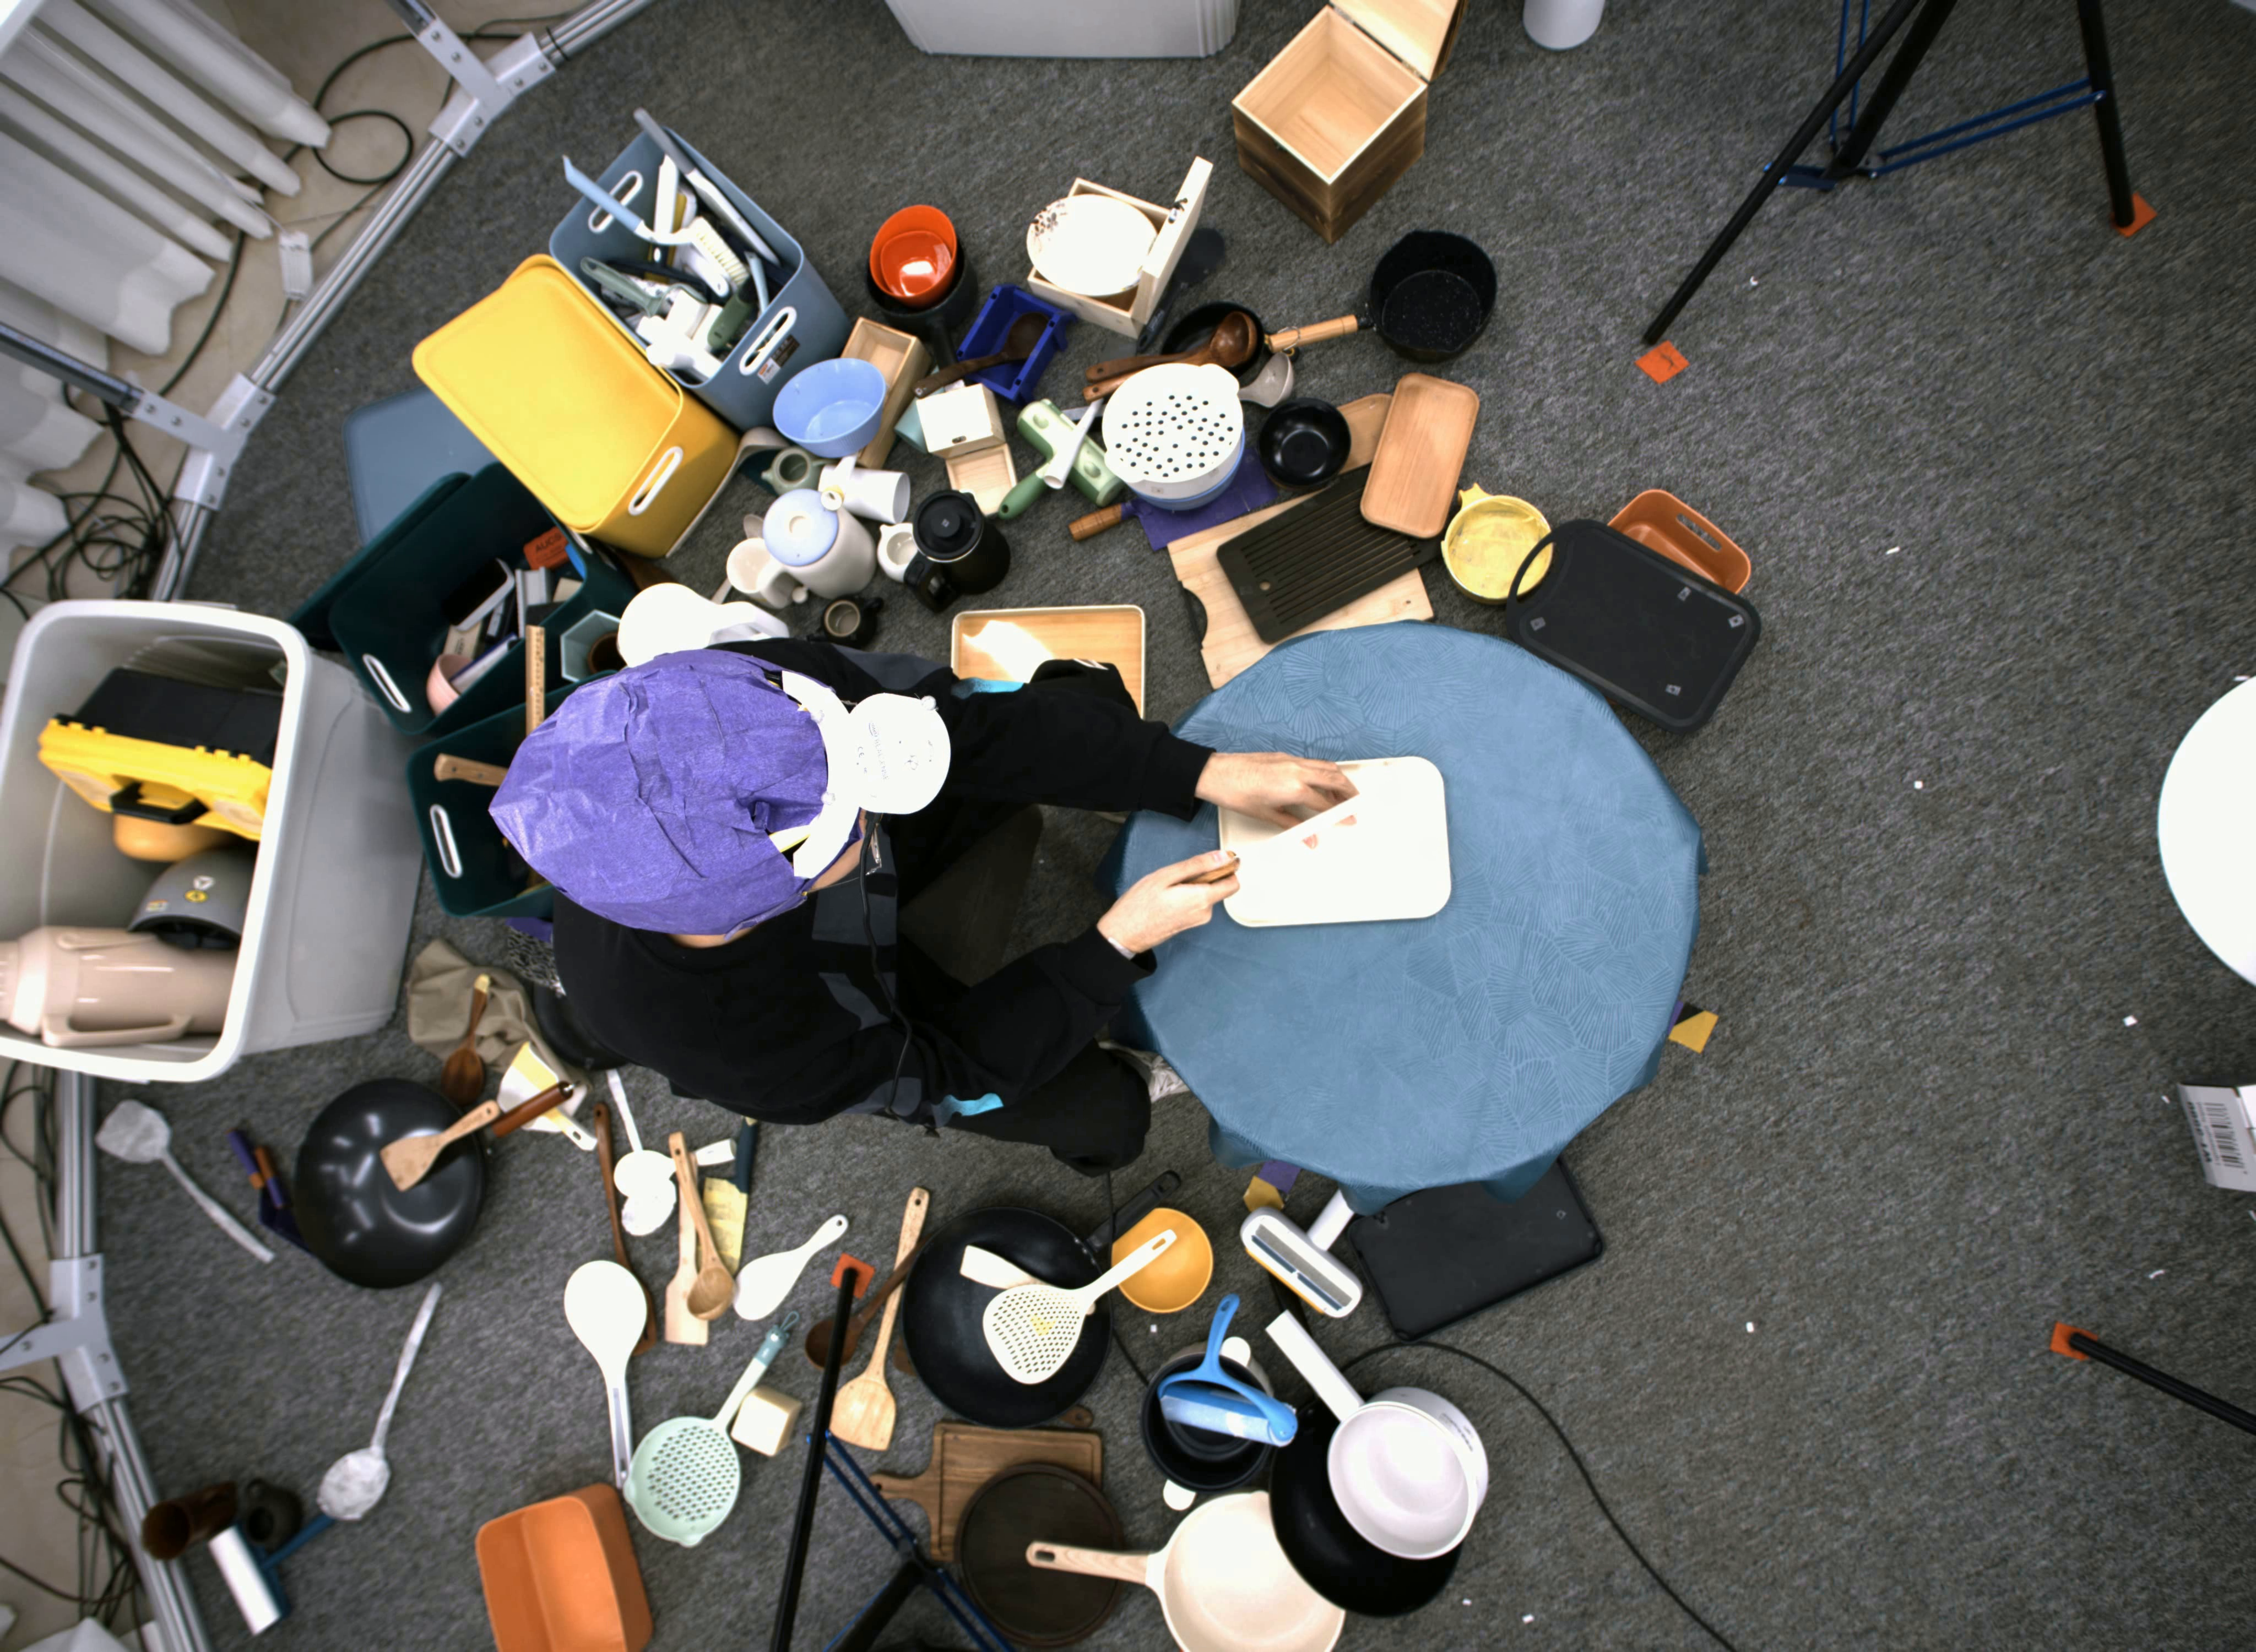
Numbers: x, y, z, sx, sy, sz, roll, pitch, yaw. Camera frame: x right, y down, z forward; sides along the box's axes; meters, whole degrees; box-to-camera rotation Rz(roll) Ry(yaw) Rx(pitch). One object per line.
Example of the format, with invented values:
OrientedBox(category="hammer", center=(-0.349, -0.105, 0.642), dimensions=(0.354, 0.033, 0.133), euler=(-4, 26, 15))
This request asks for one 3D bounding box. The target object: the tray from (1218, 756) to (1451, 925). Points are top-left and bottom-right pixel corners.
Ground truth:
OrientedBox(category="tray", center=(0.217, 0.015, 1.463), dimensions=(0.240, 0.017, 0.170), euler=(-3, 88, 10))

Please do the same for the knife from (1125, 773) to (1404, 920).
OrientedBox(category="knife", center=(0.140, 0.021, 1.399), dimensions=(0.308, 0.093, 0.021), euler=(-28, 78, 11))
